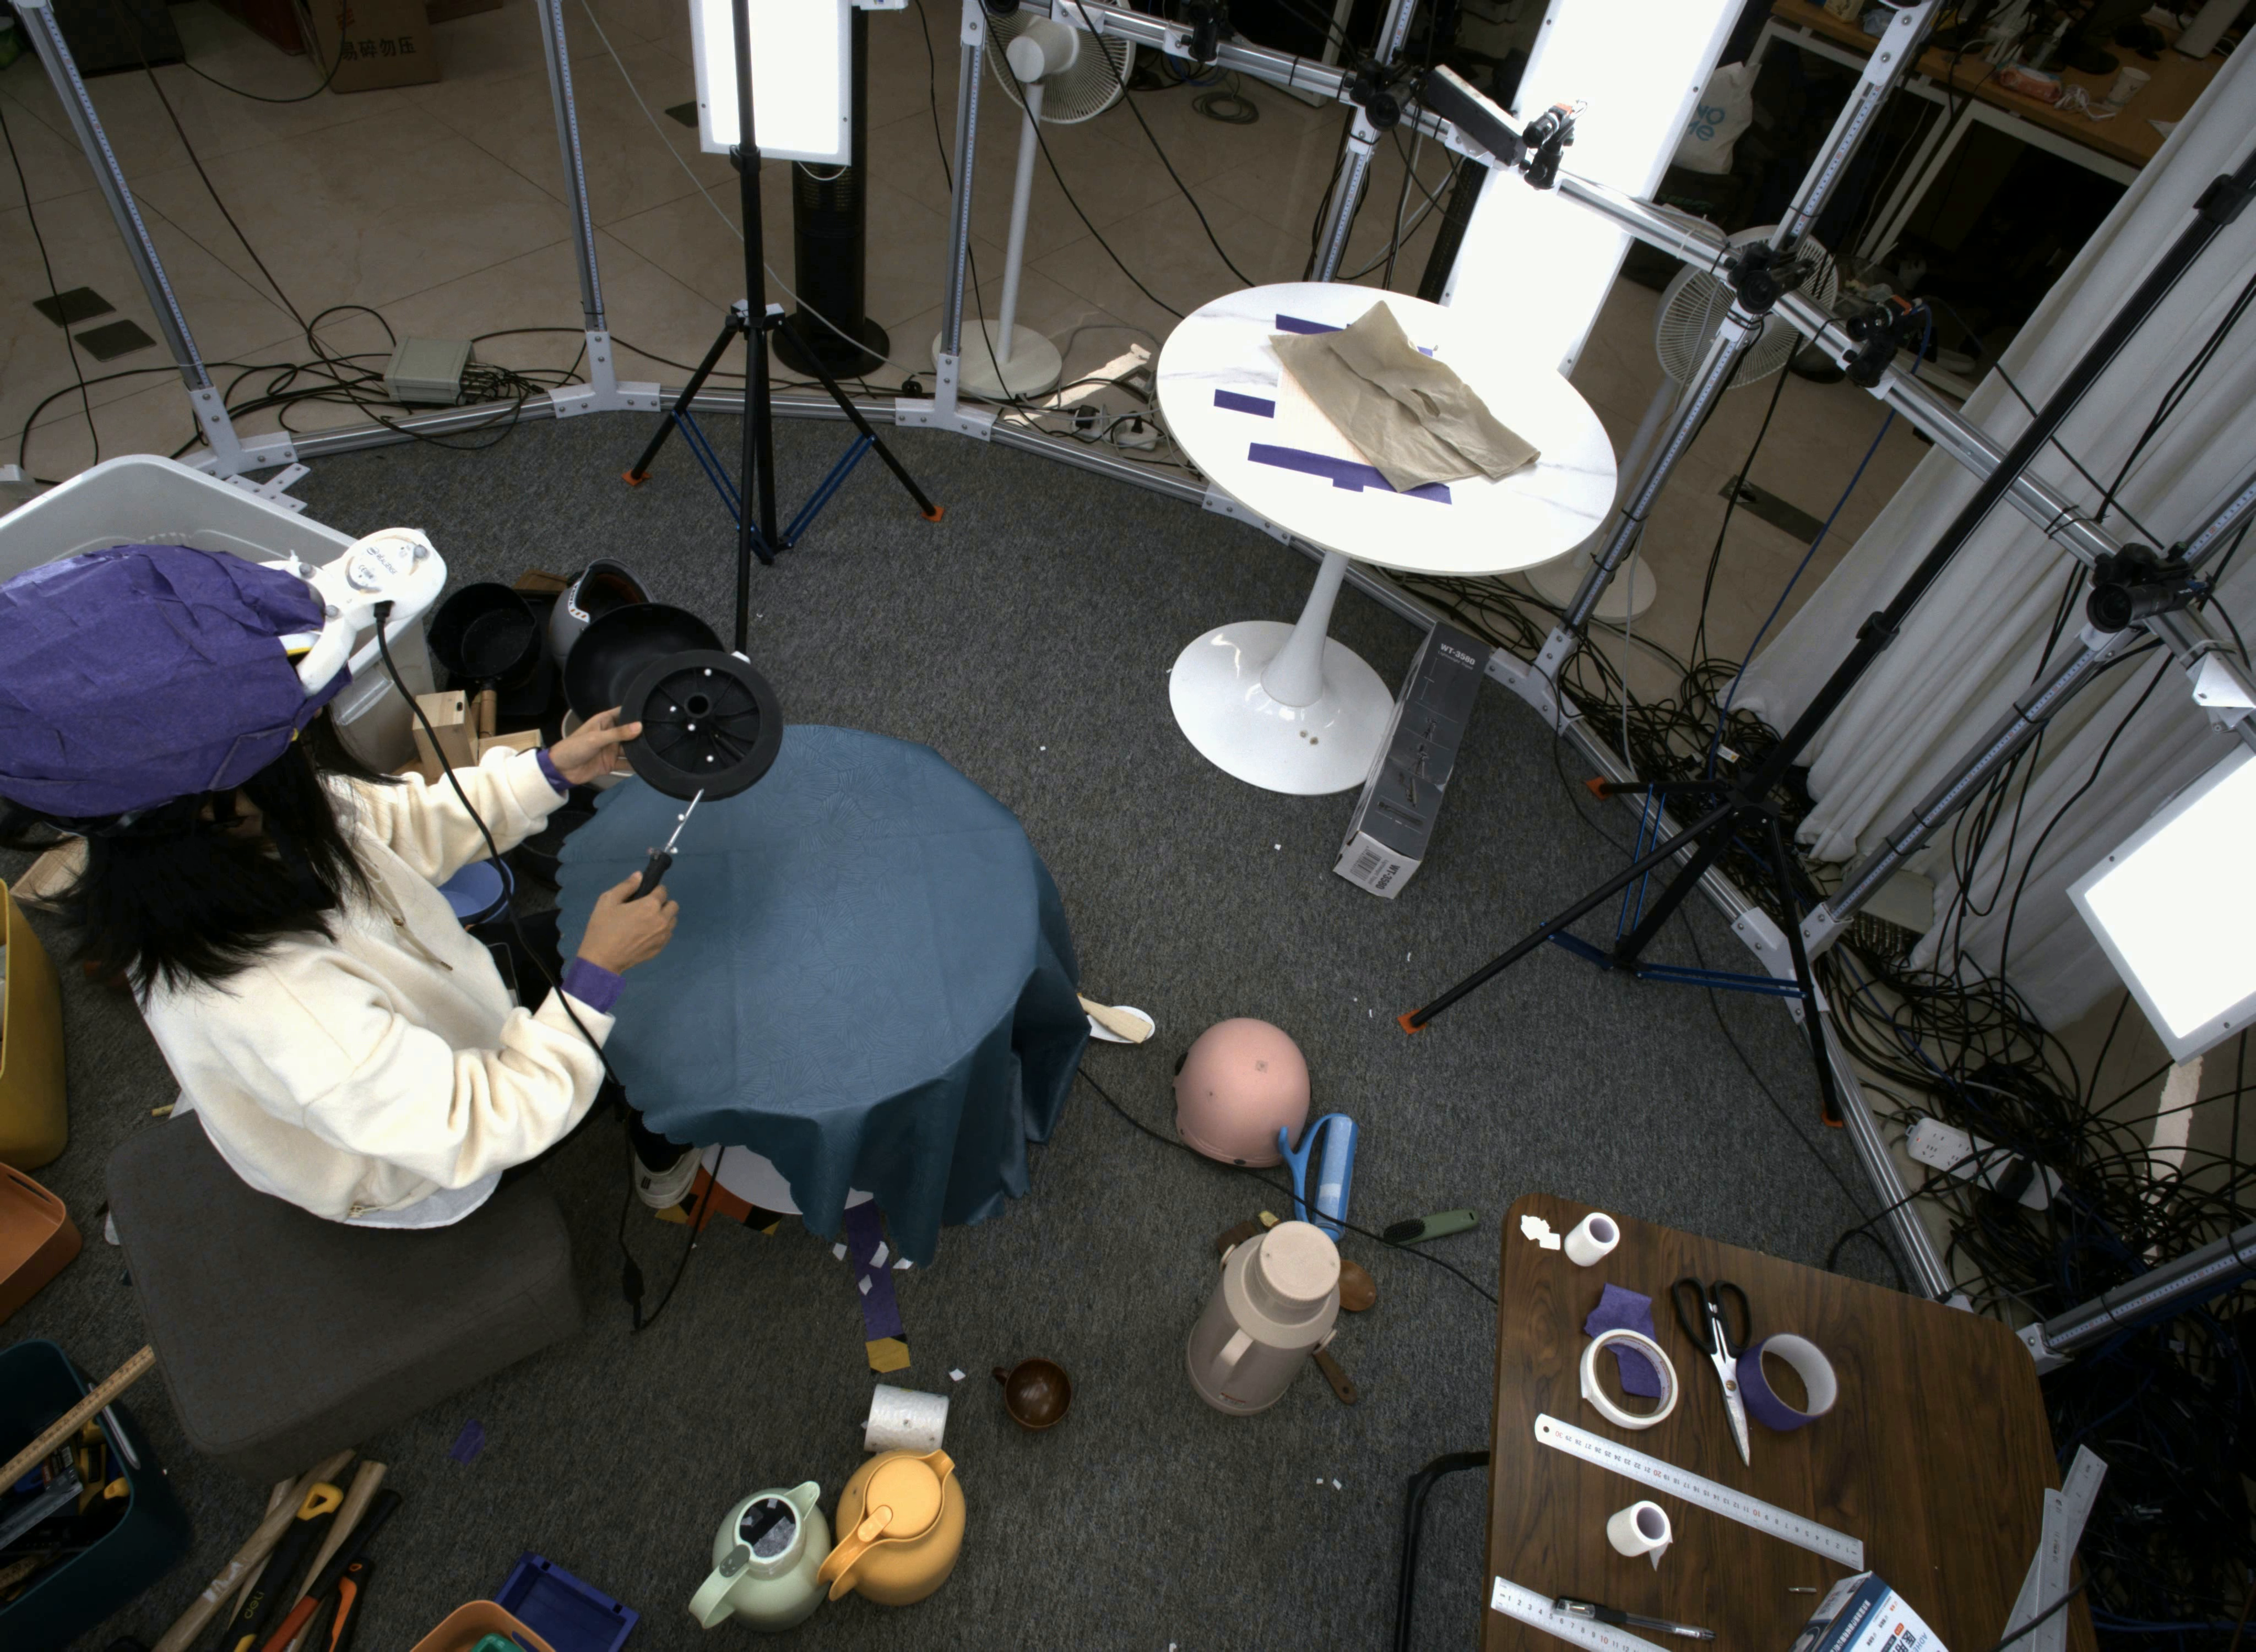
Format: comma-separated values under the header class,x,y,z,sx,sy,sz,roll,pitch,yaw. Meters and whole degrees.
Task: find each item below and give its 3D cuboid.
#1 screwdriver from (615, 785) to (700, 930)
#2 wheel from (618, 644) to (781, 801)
class,x,y,z,sx,sy,sz,roll,pitch,yaw
screwdriver,-0.516,0.026,1.417,0.031,0.032,0.194,17,59,0
wheel,-0.499,-0.130,1.492,0.191,0.079,0.187,19,70,-13
